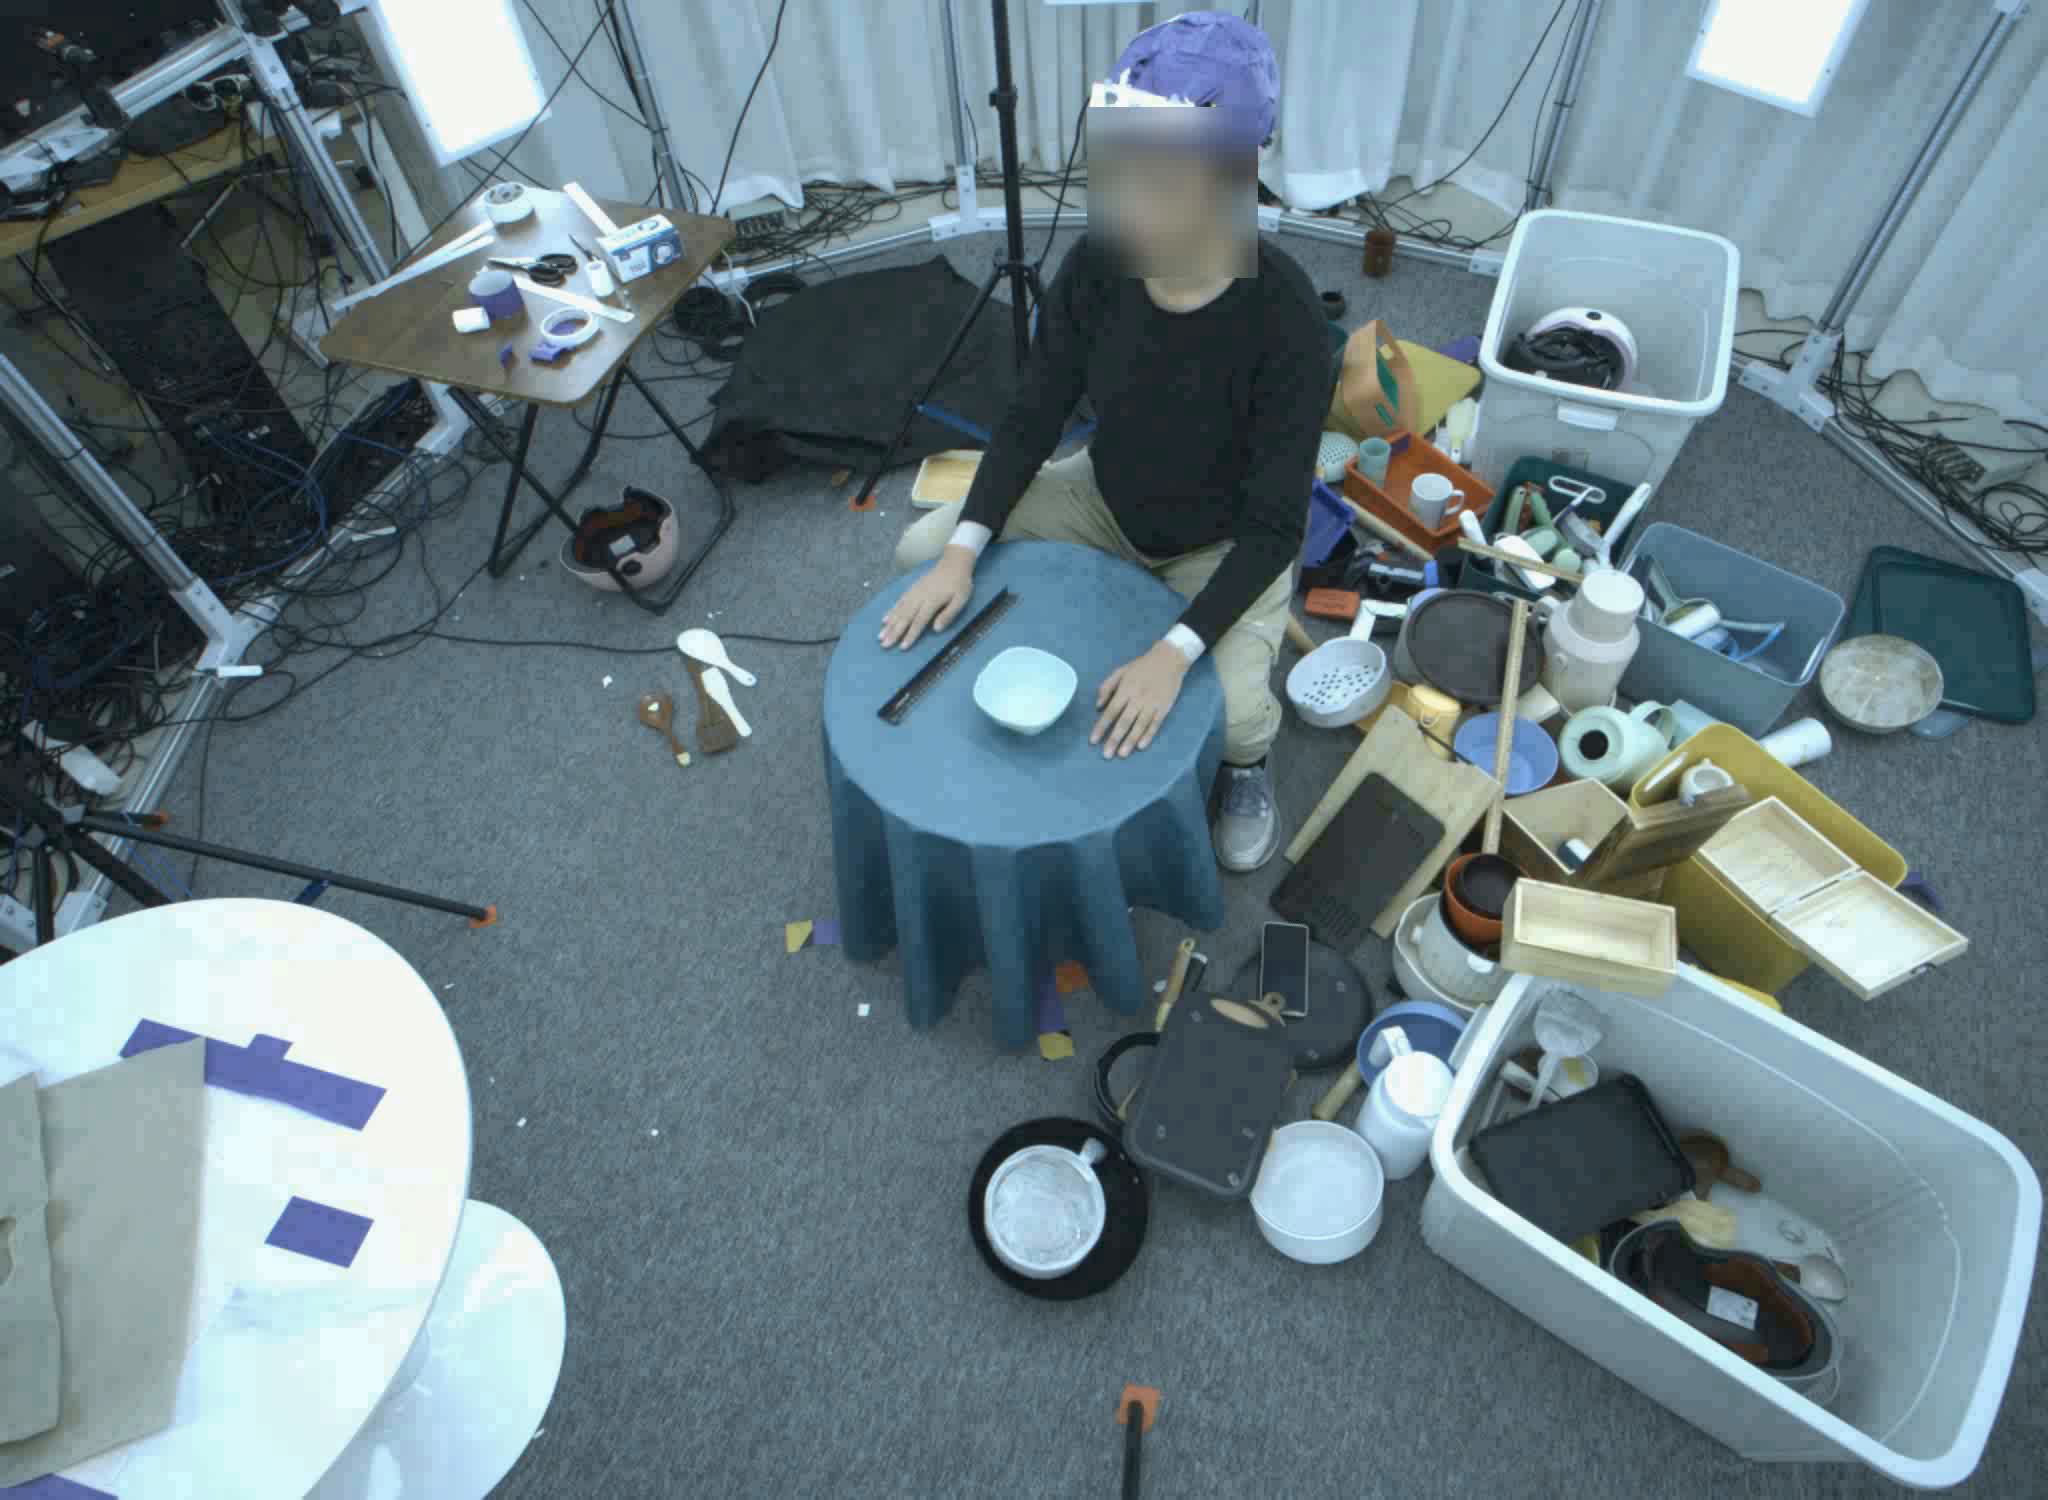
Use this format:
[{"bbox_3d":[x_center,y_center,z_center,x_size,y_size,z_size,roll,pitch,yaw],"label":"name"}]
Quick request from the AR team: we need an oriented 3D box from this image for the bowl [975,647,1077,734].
[{"bbox_3d":[0.005,-0.077,1.808,0.151,0.059,0.150,-2,56,3],"label":"bowl"}]

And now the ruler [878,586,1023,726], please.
[{"bbox_3d":[-0.110,-0.150,1.888,0.039,0.017,0.314,33,62,19],"label":"ruler"}]
